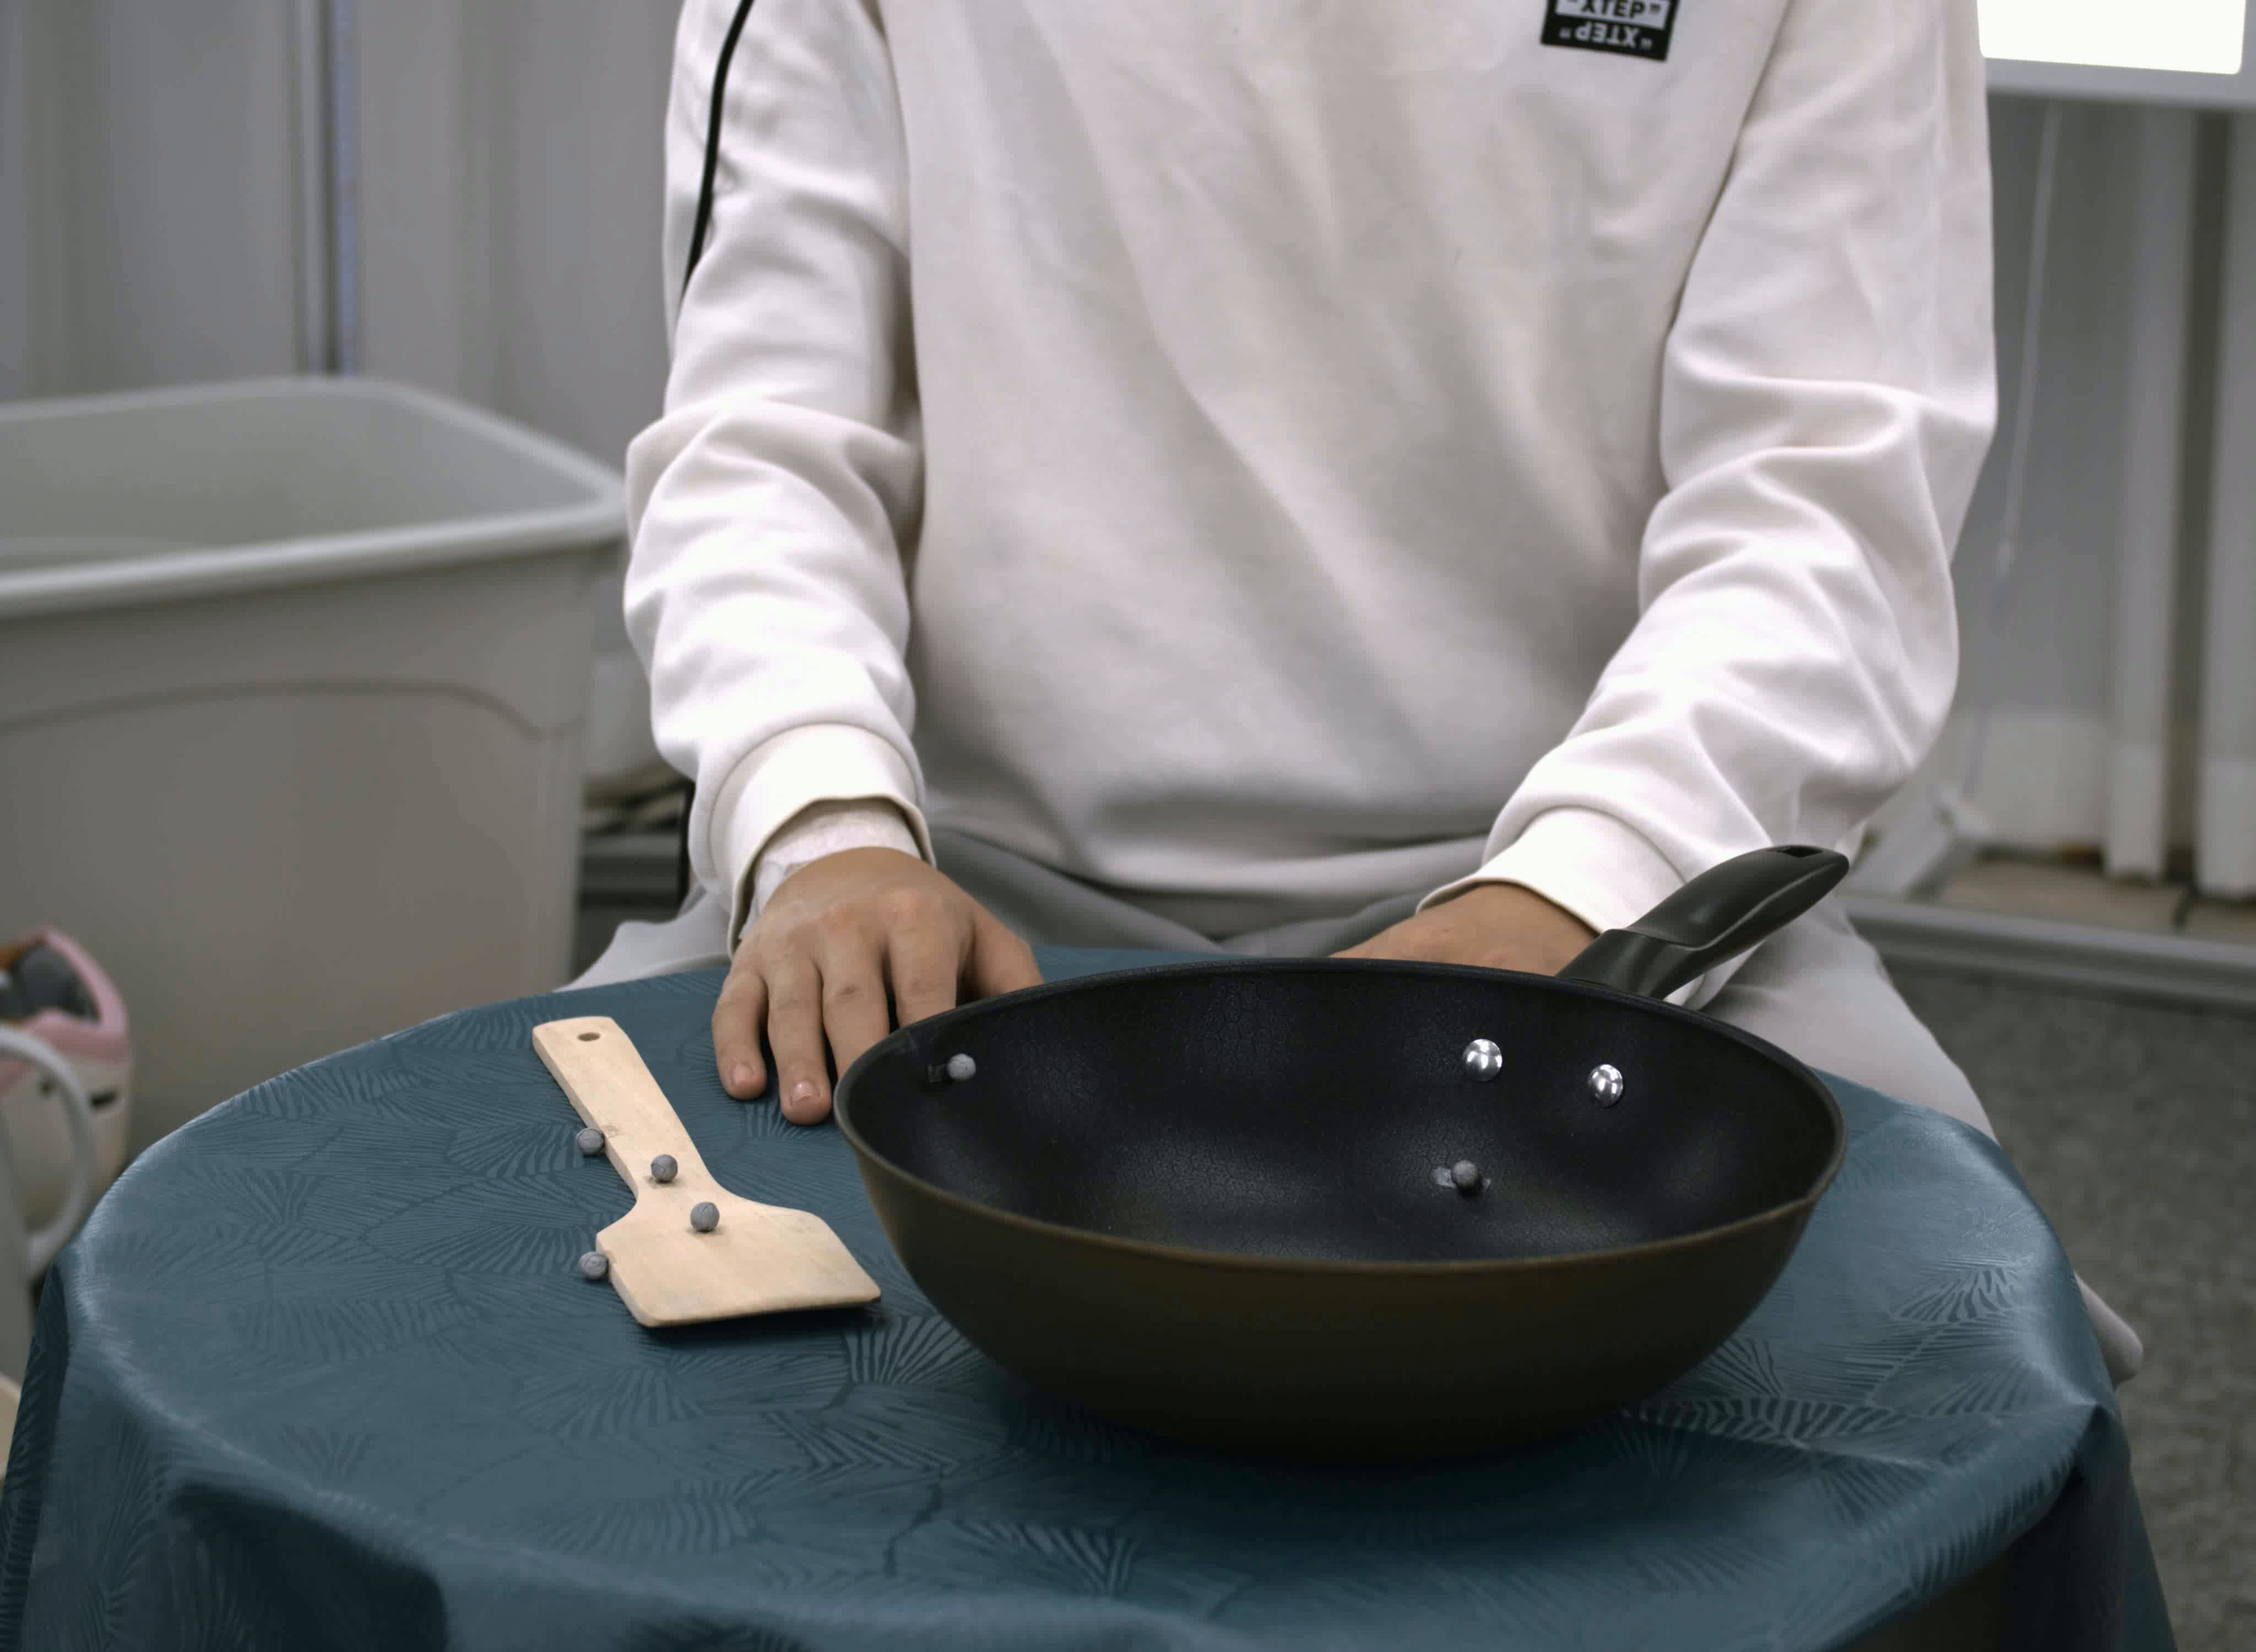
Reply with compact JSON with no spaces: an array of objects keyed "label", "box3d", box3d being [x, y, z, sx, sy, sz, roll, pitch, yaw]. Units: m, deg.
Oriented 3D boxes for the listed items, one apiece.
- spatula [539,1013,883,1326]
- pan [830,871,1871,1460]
[{"label":"spatula","box3d":[-0.145,0.104,1.638,0.072,0.011,0.290,-5,17,-16]},{"label":"pan","box3d":[0.105,0.094,1.547,0.285,0.087,0.465,10,16,30]}]
